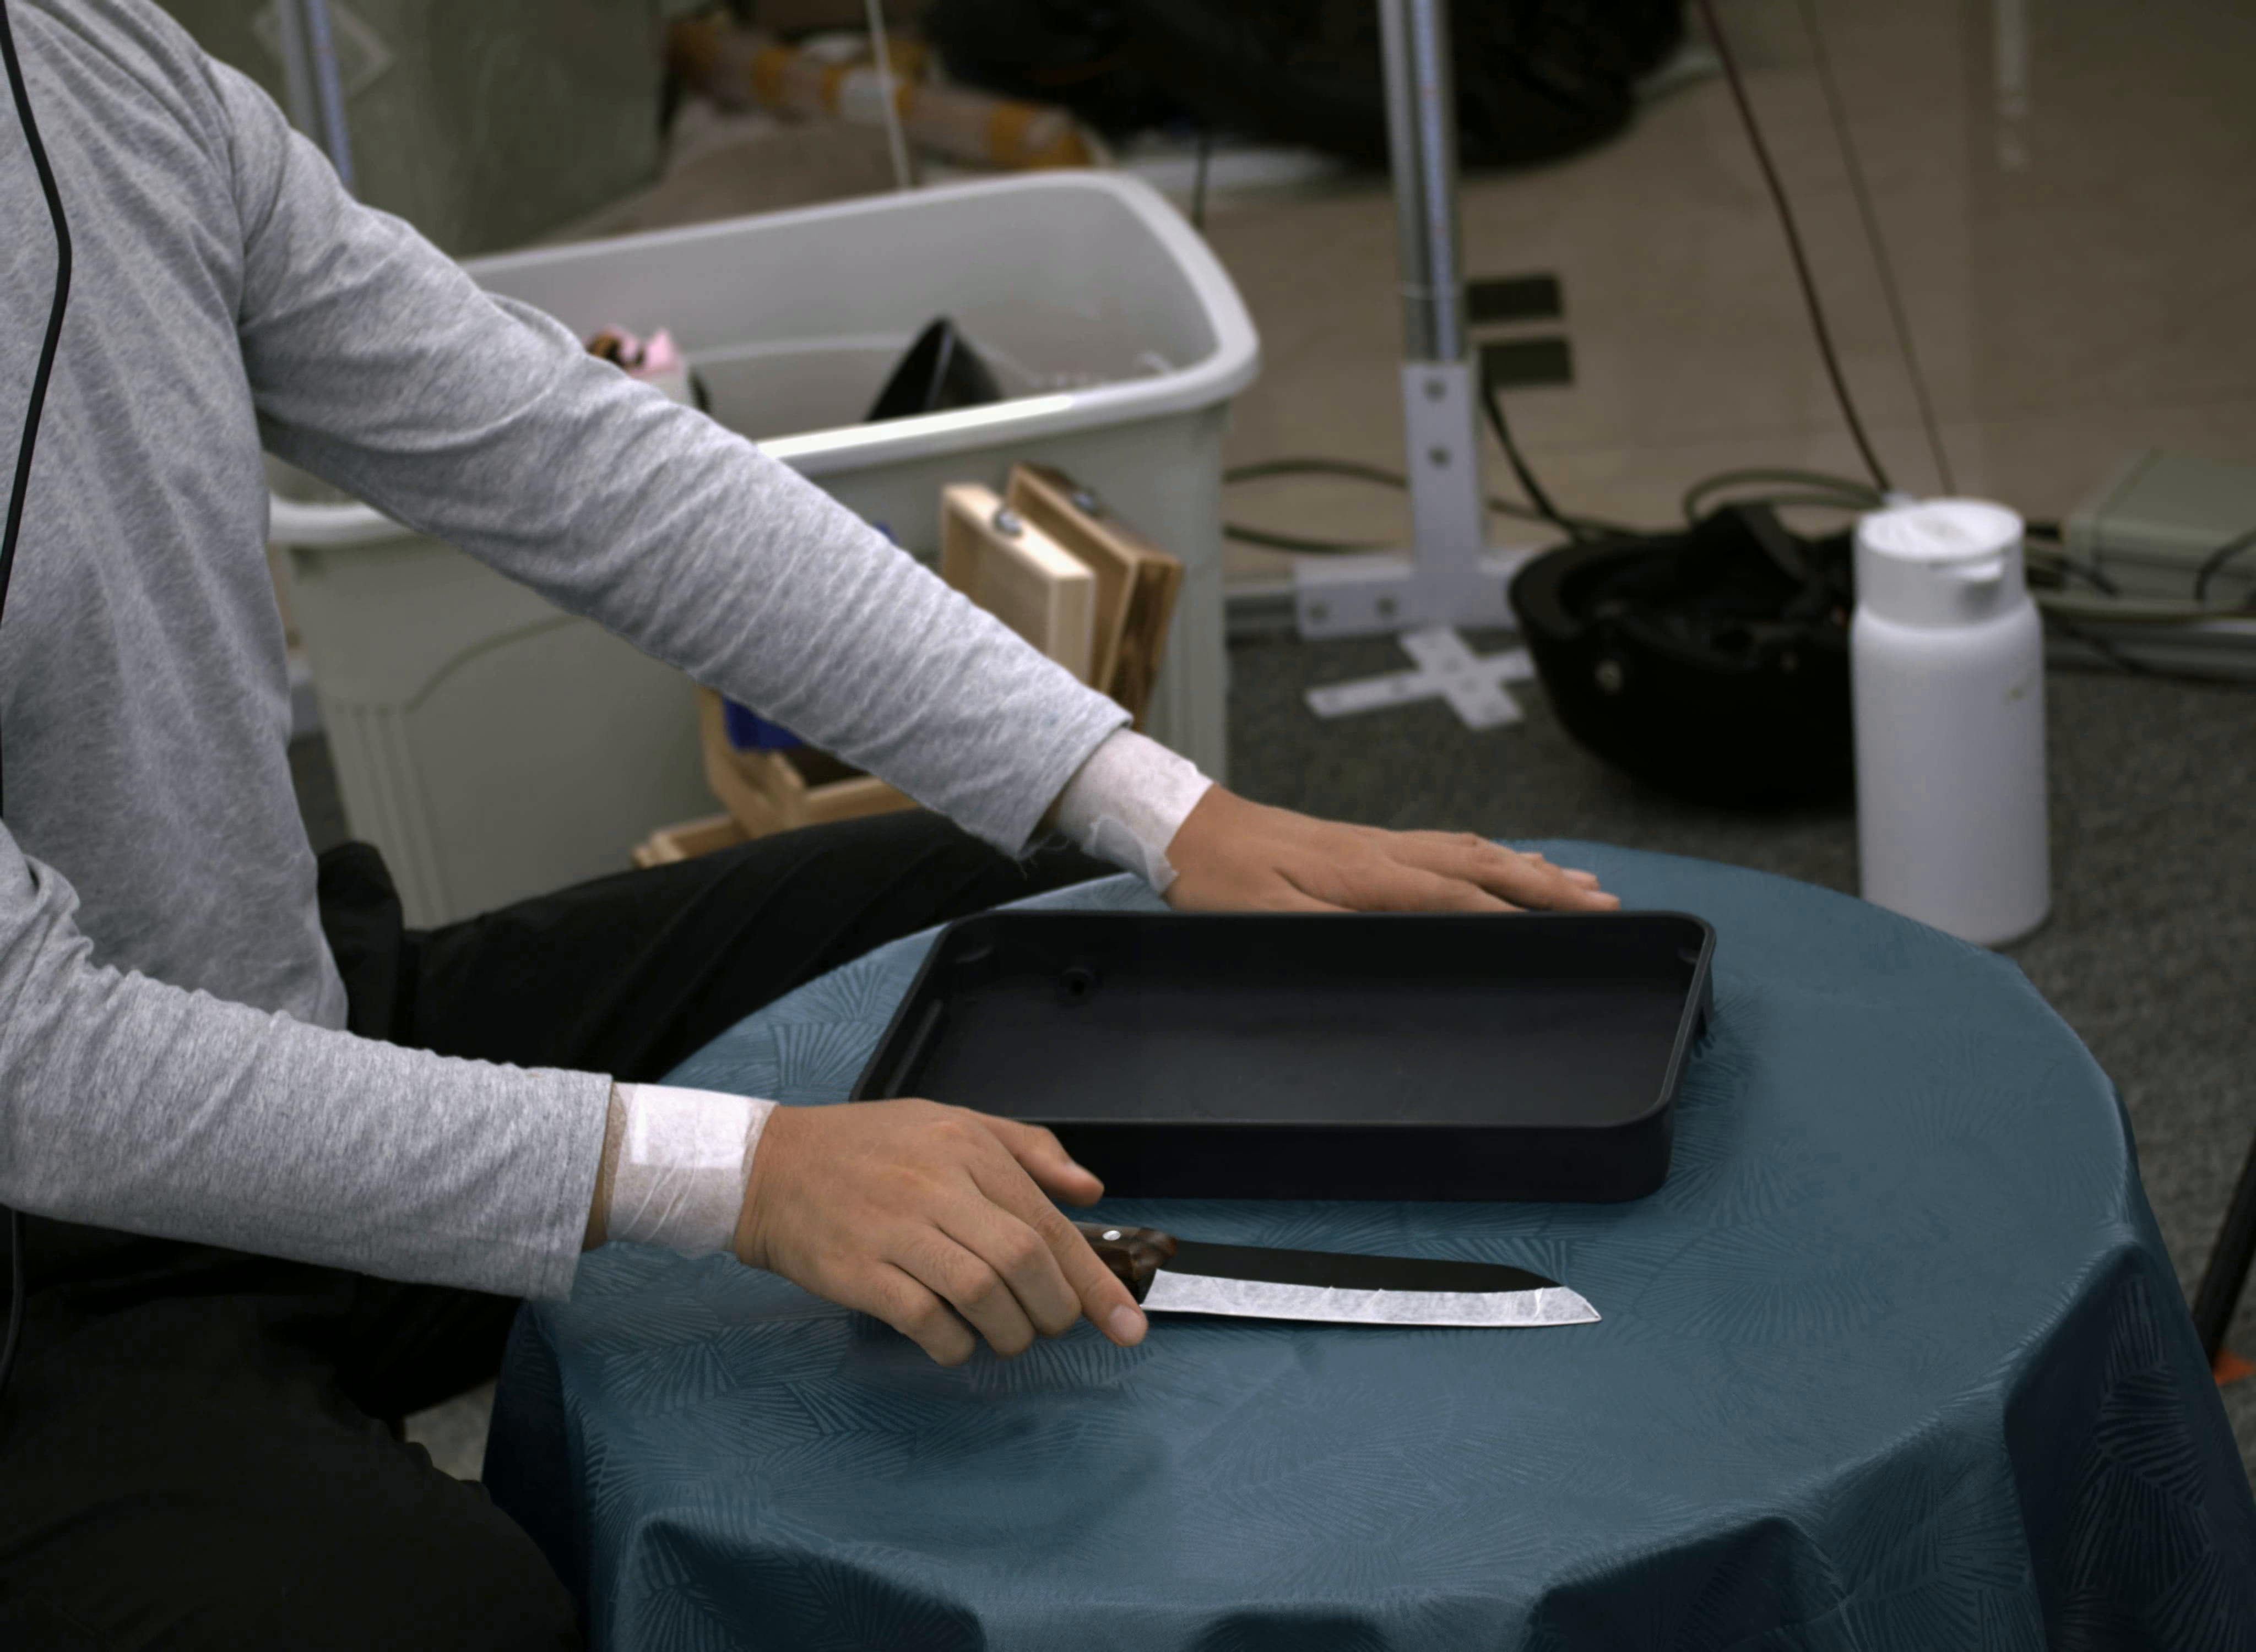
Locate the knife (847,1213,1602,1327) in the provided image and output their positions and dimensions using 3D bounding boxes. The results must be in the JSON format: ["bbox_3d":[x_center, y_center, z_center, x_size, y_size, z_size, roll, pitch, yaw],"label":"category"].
[{"bbox_3d":[0.032,0.164,2.072,0.288,0.020,0.049,4,32,16],"label":"knife"}]

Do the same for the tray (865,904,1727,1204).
[{"bbox_3d":[0.069,0.087,2.203,0.317,0.037,0.181,-1,25,12],"label":"tray"}]
